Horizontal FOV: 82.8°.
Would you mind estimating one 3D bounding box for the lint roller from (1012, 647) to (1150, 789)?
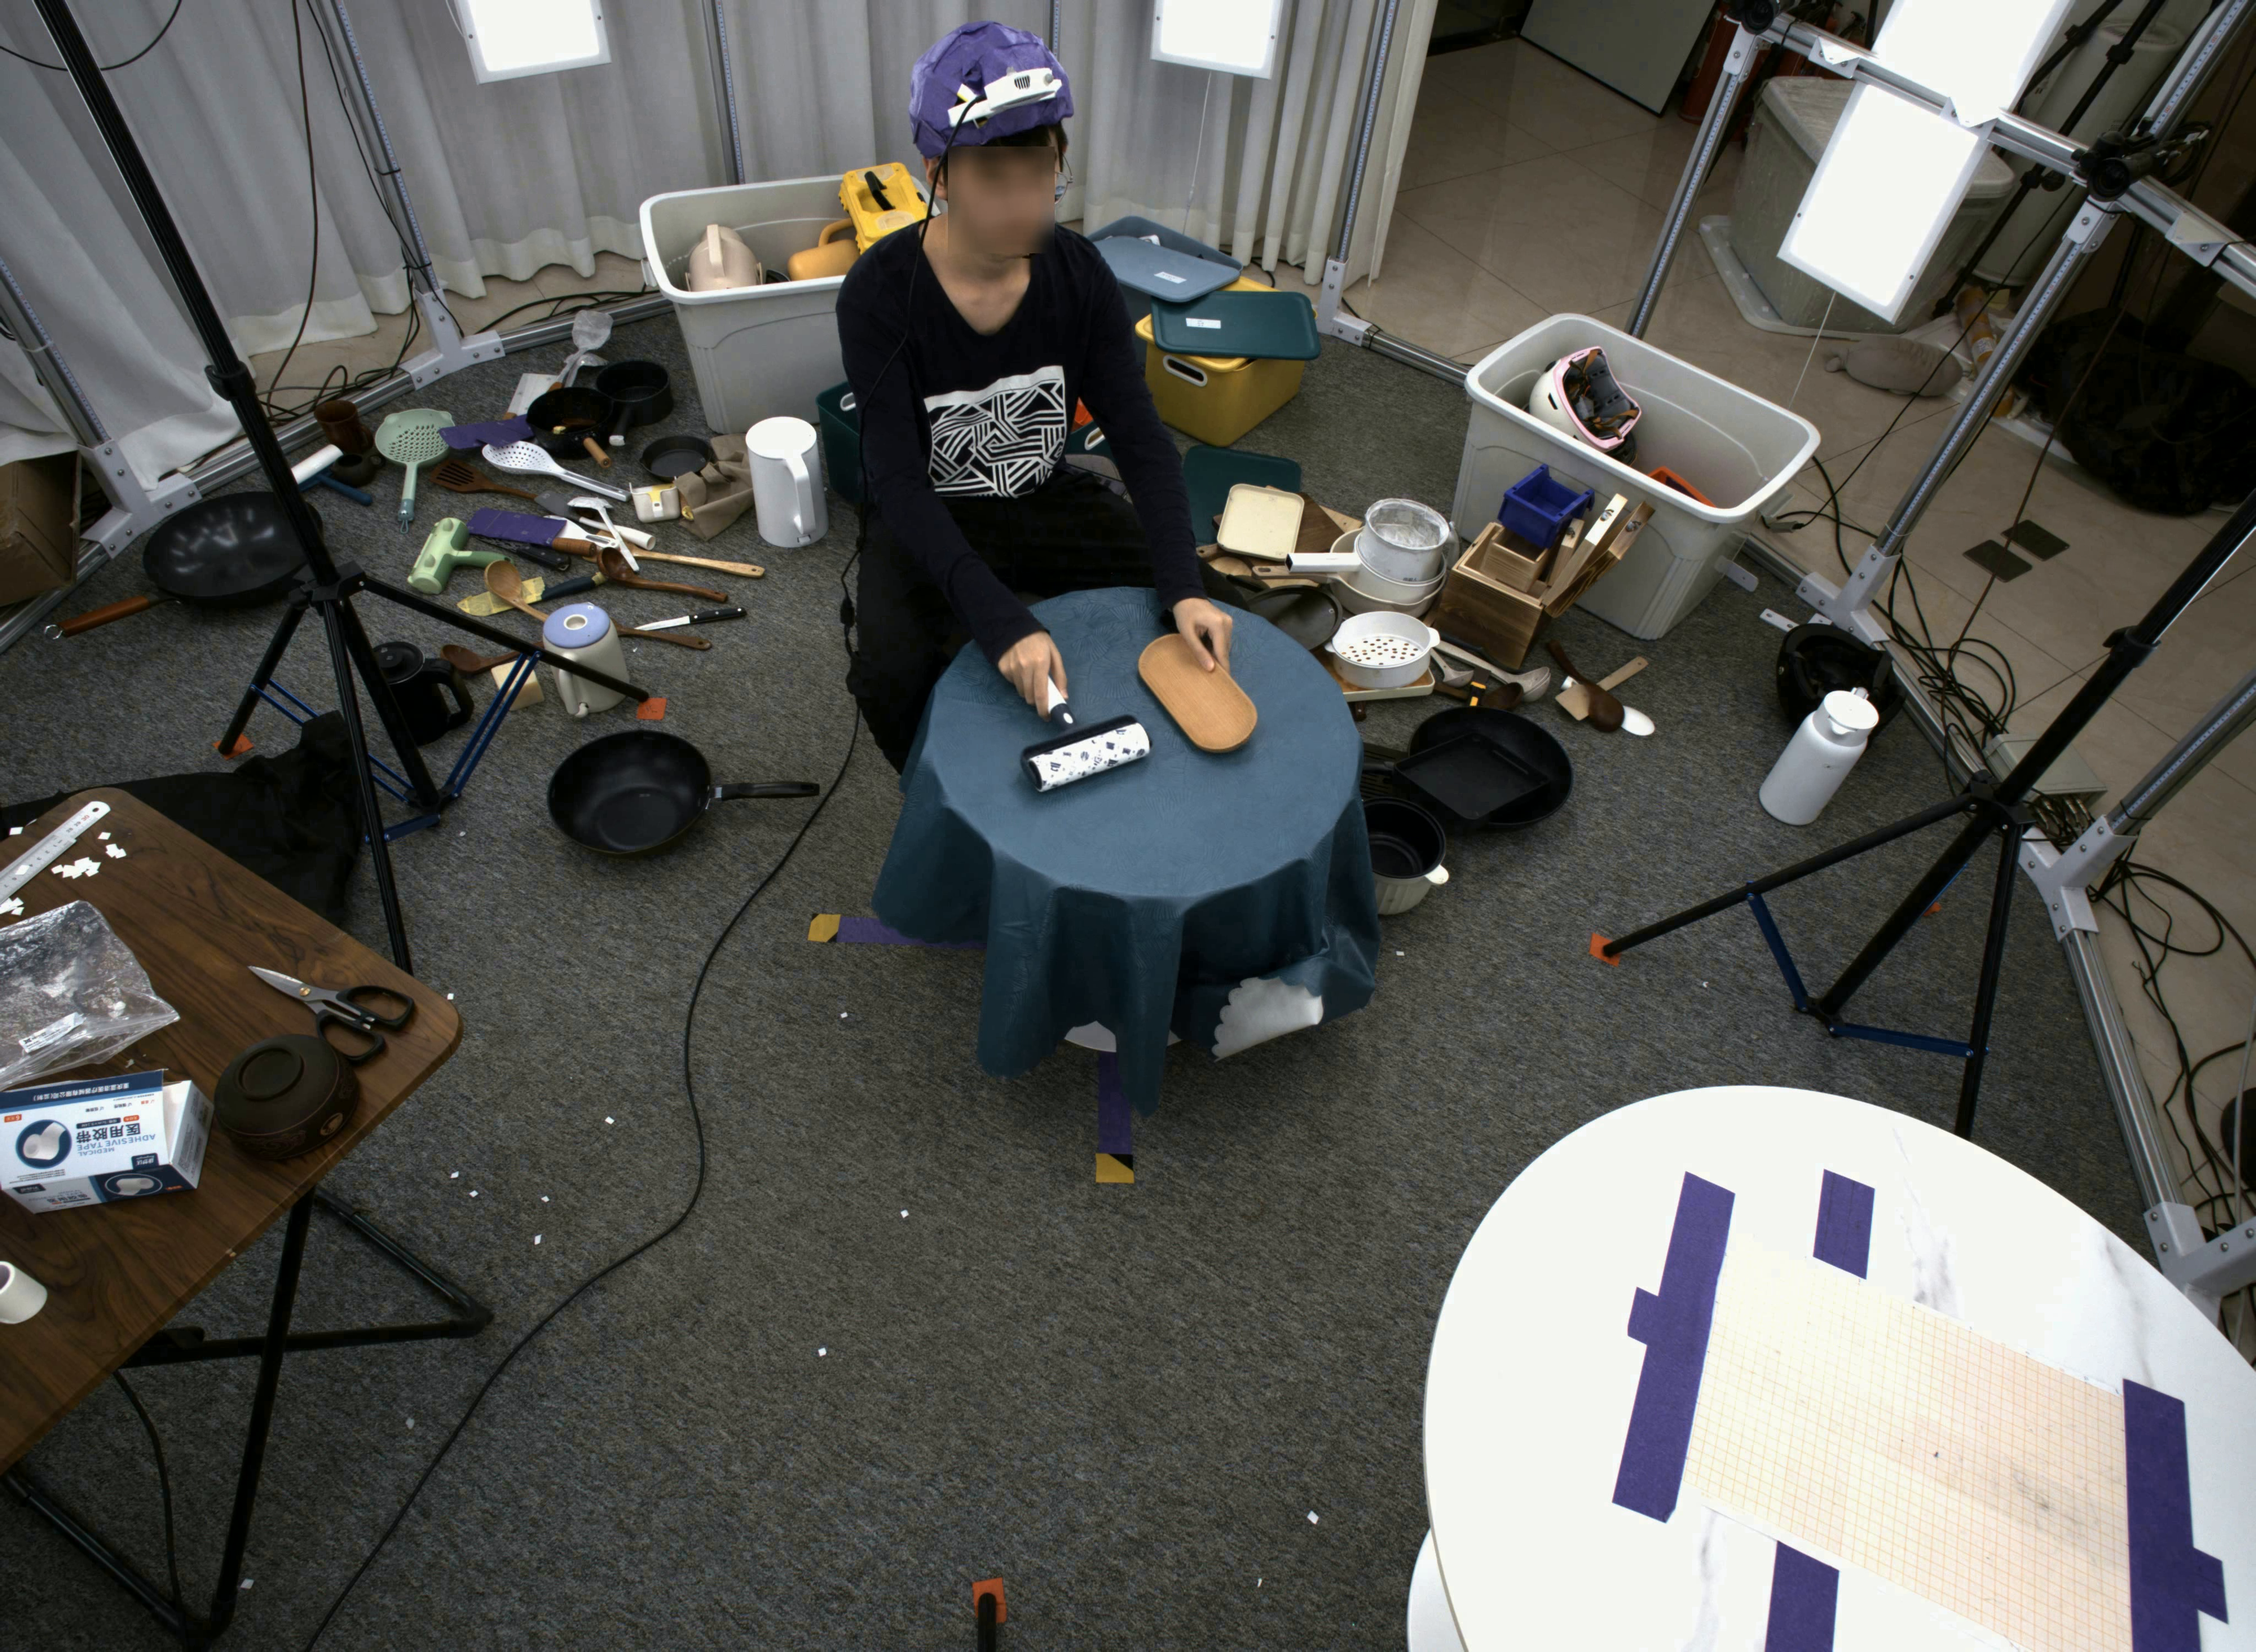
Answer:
[{"bbox_3d":[-0.102,-0.168,1.767,0.177,0.049,0.252,-21,56,-19],"label":"lint roller"}]

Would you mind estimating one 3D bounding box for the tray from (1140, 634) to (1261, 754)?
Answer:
[{"bbox_3d":[0.101,-0.188,1.809,0.102,0.020,0.236,-33,57,-6],"label":"tray"}]
